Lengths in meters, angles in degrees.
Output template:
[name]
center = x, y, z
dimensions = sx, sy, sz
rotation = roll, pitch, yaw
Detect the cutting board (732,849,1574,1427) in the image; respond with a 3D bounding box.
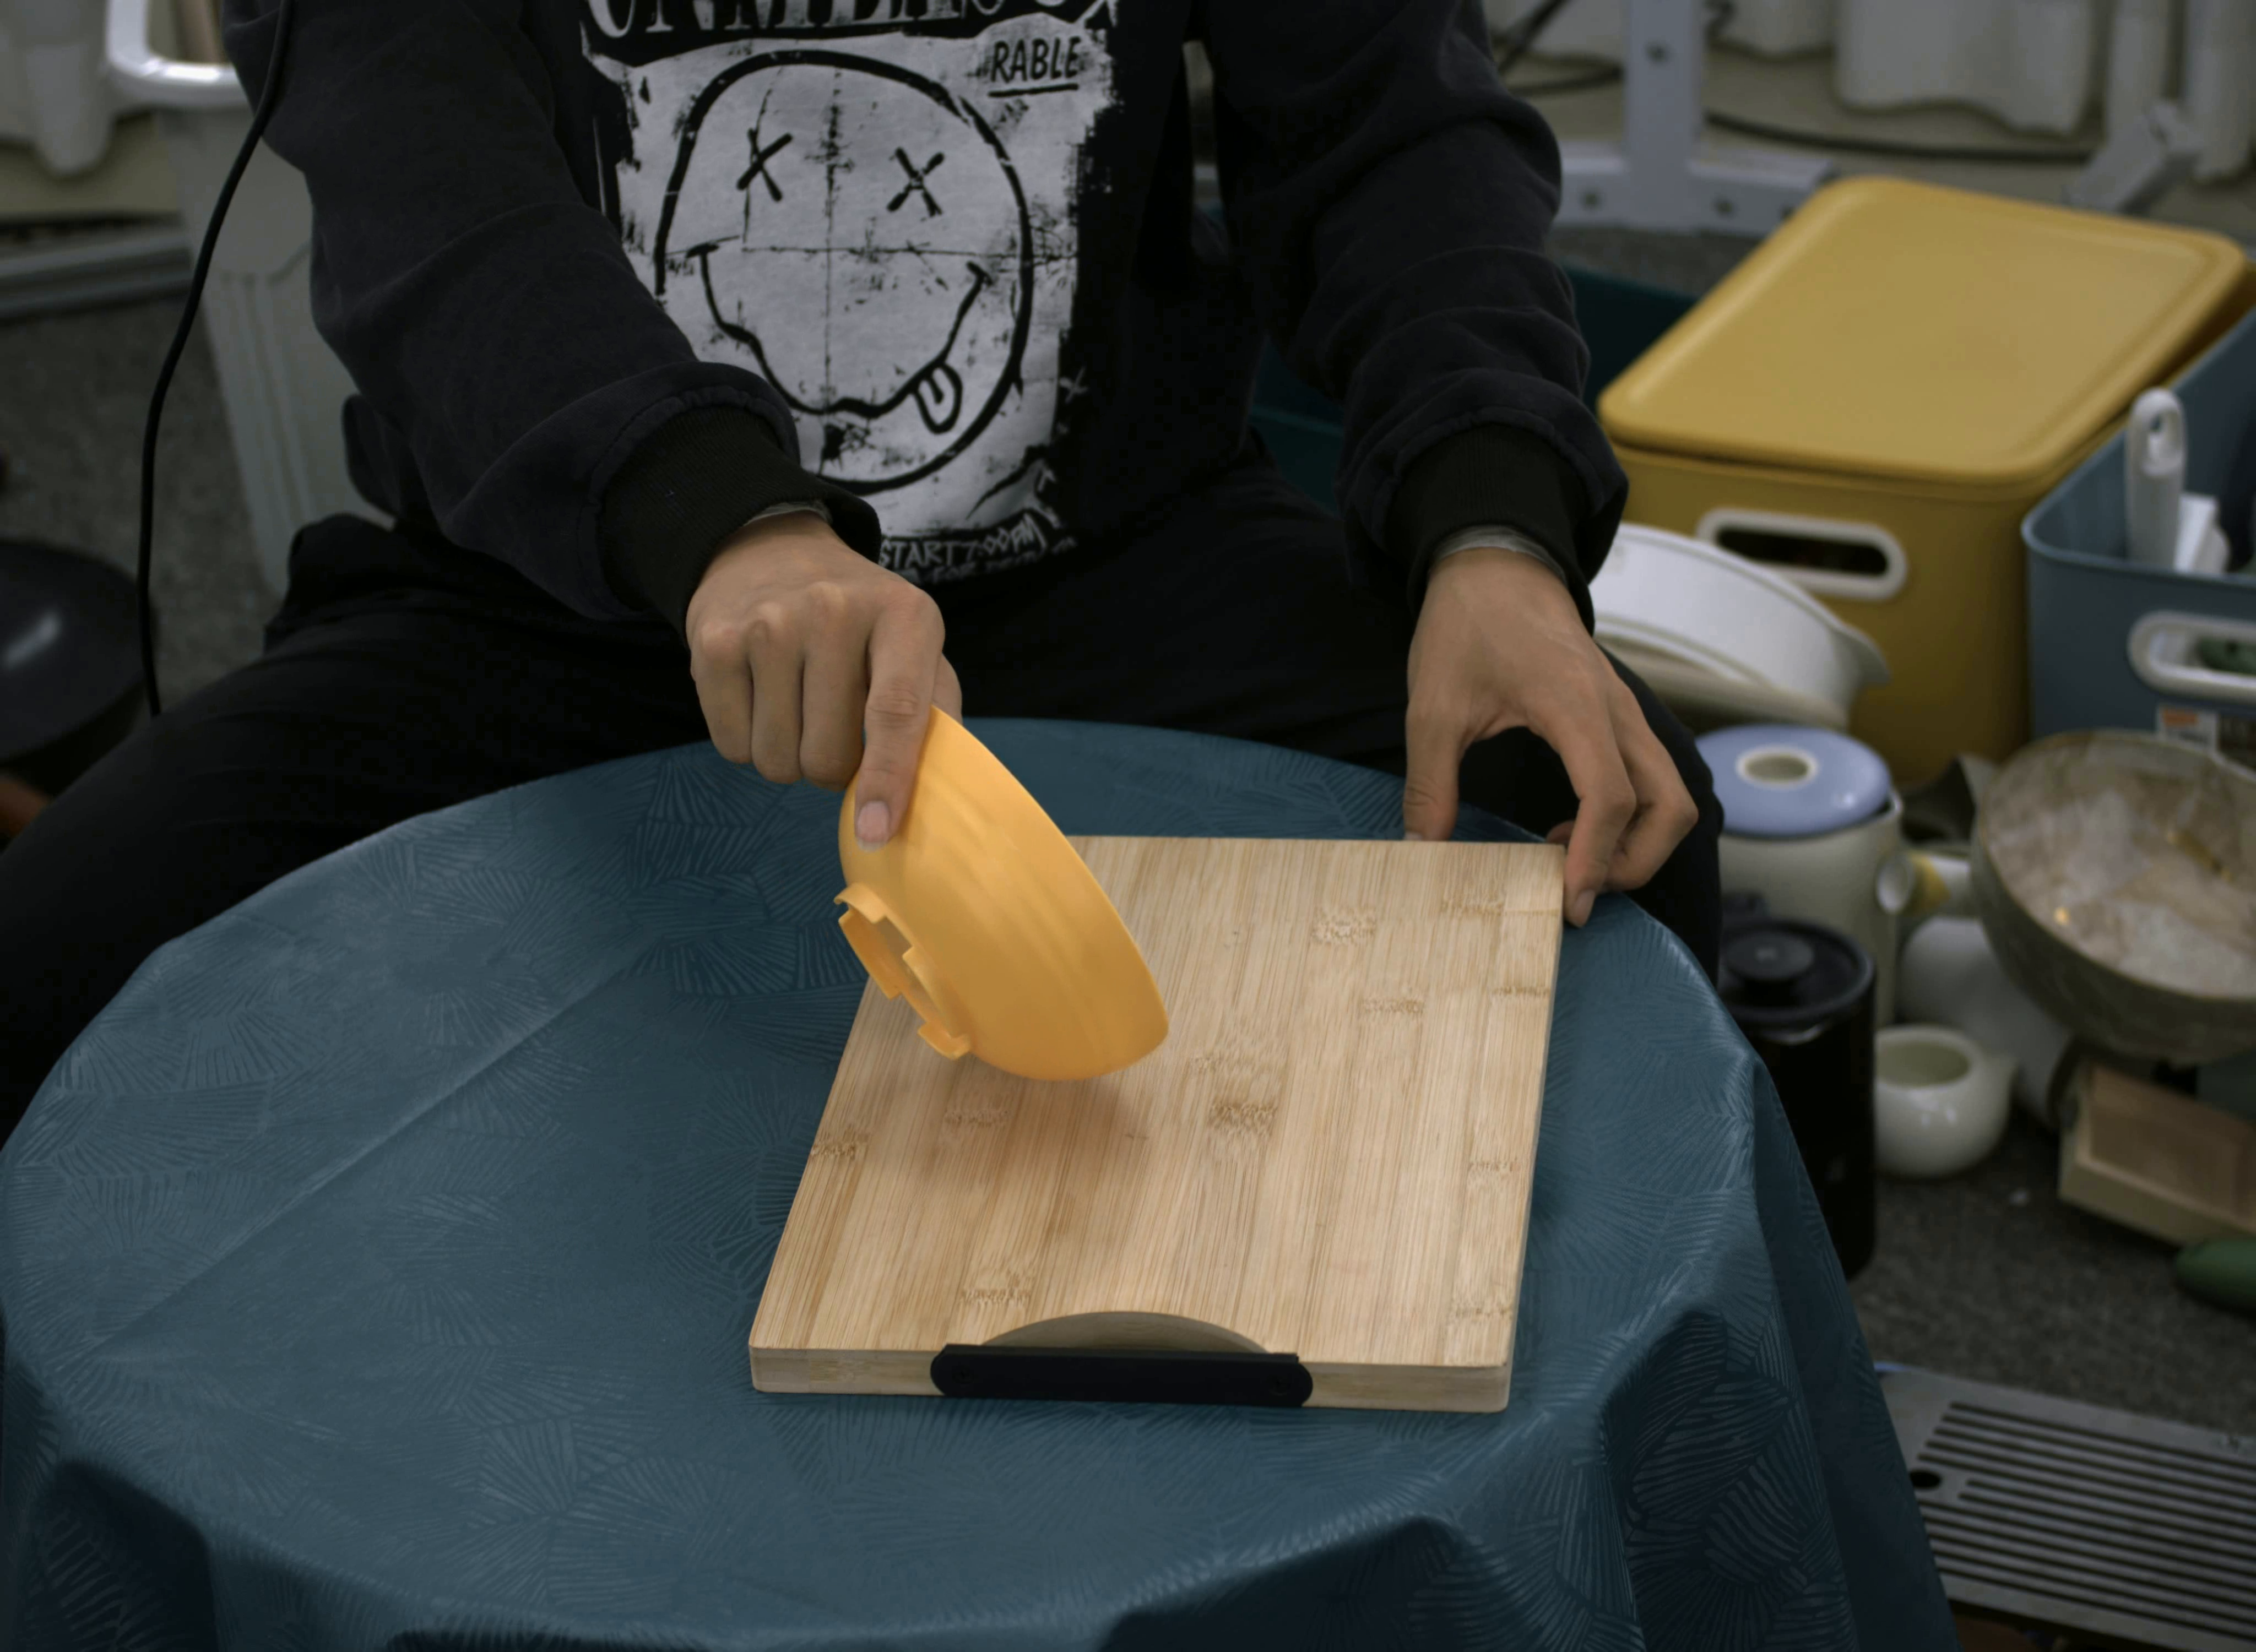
[cutting board]
center = 0.018, 0.096, 1.890
dimensions = 0.249, 0.023, 0.354
rotation = 0, 27, 7

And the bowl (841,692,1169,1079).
[bowl]
center = -0.052, 0.032, 1.840
dimensions = 0.060, 0.144, 0.146
rotation = -35, 36, -14
